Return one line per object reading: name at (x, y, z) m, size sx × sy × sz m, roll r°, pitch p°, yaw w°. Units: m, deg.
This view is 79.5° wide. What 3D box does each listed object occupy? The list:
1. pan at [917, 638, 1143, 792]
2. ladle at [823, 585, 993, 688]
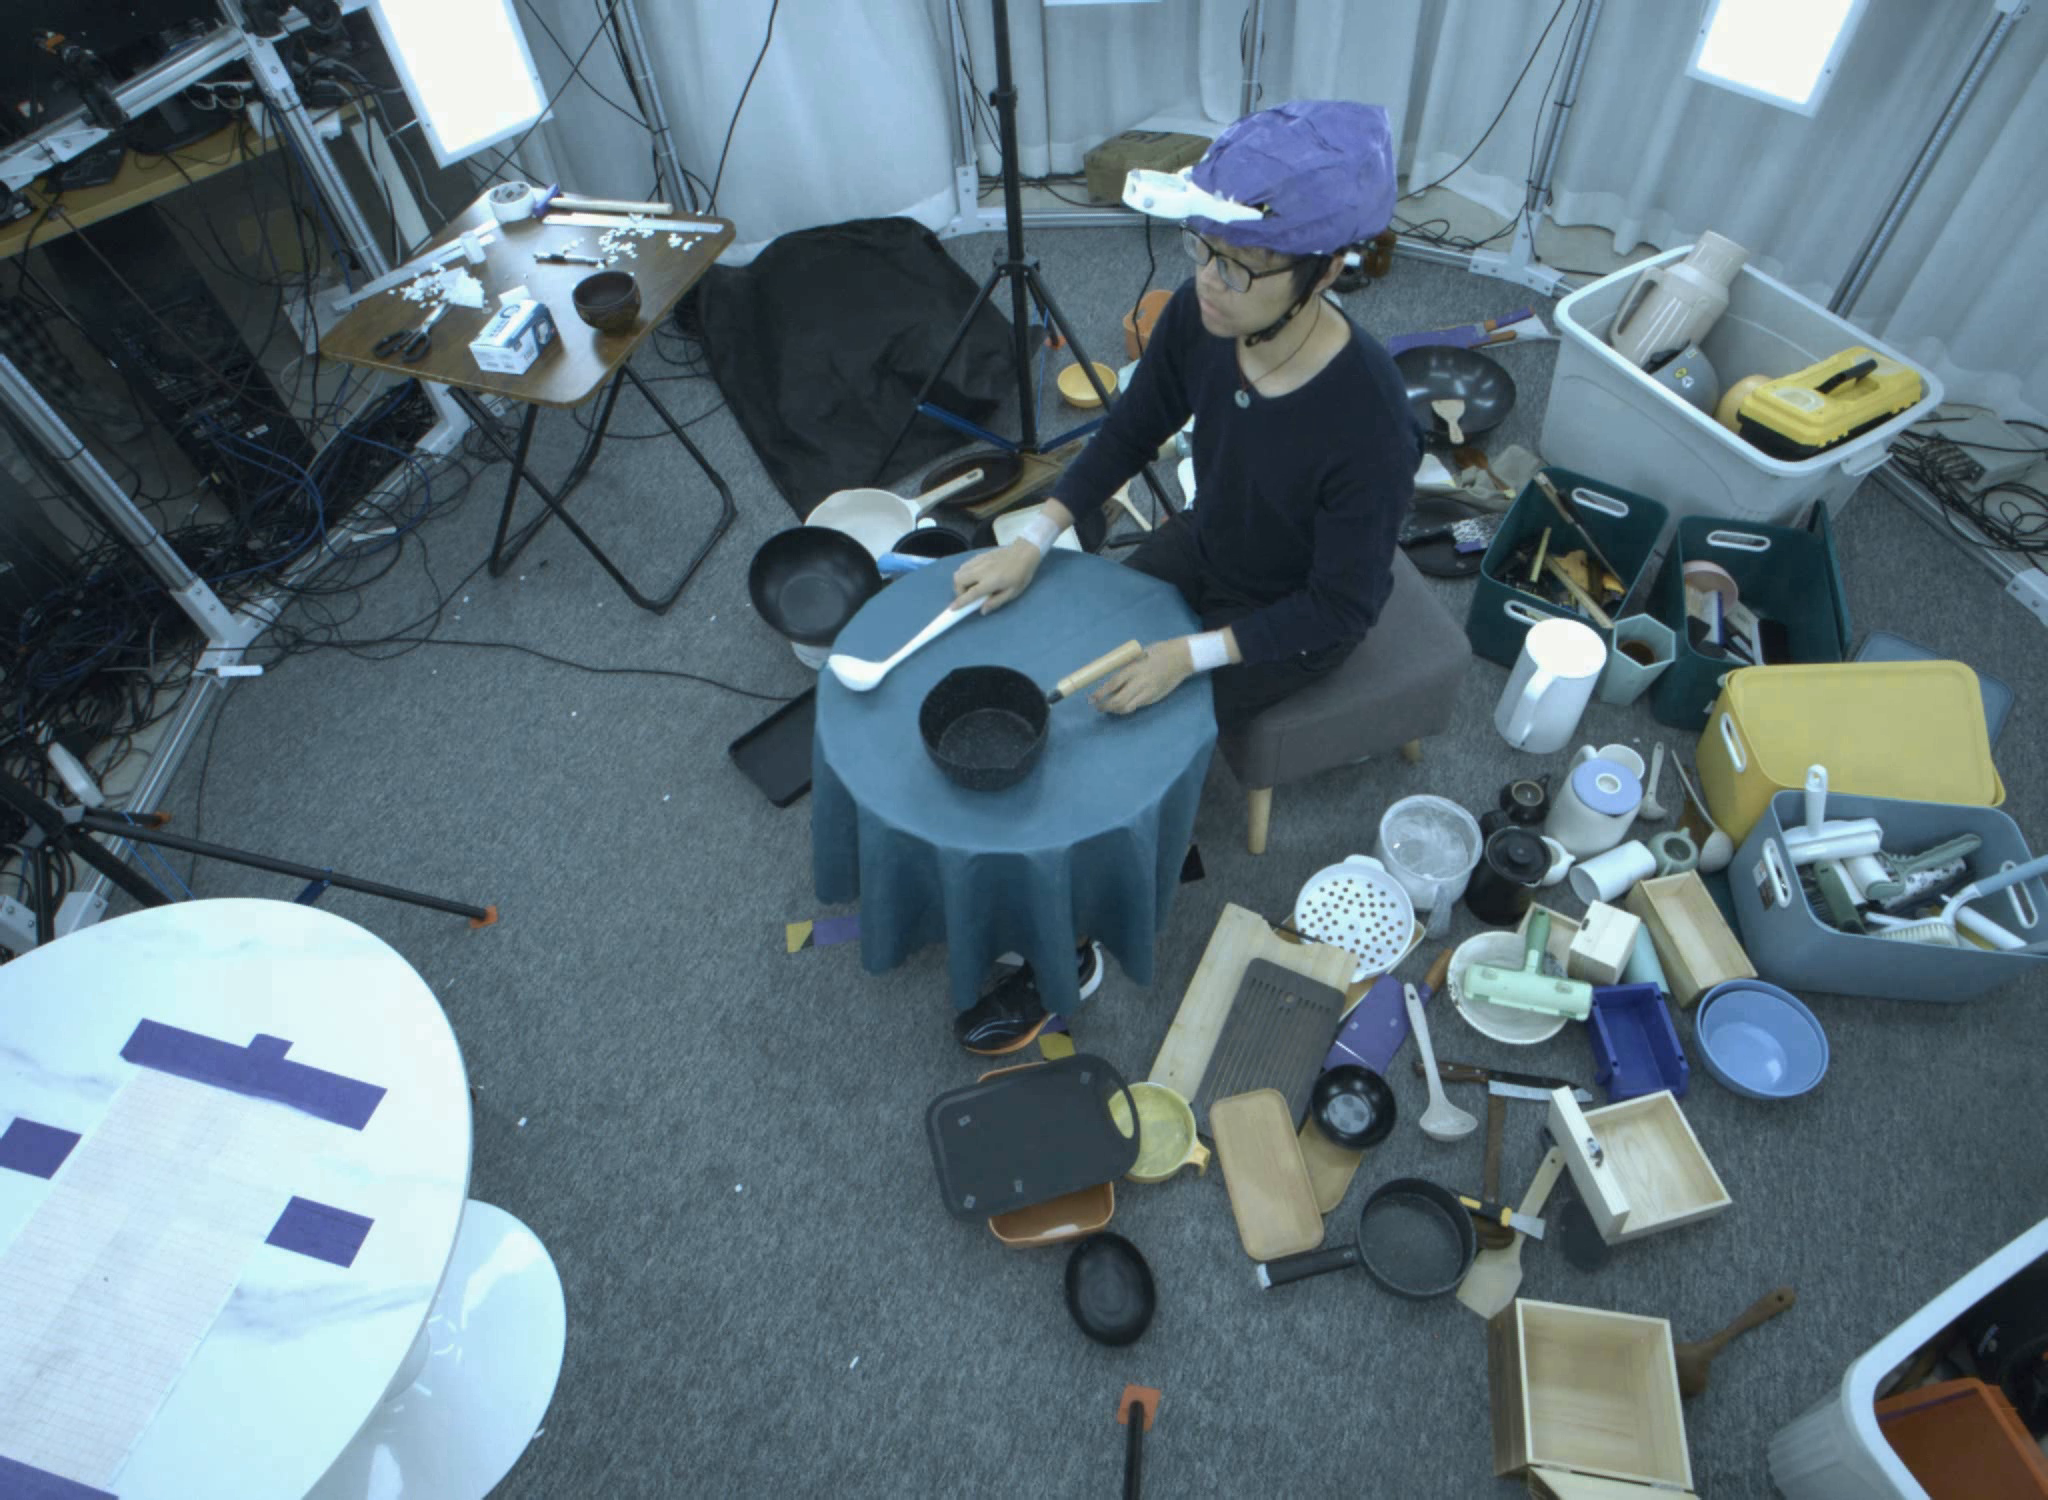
pan at (0.015, -0.063, 1.765) m, size 0.345 × 0.109 × 0.203 m, roll -24°, pitch 56°, yaw -13°
ladle at (-0.174, -0.185, 1.887) m, size 0.295 × 0.071 × 0.088 m, roll -36°, pitch 44°, yaw -22°
